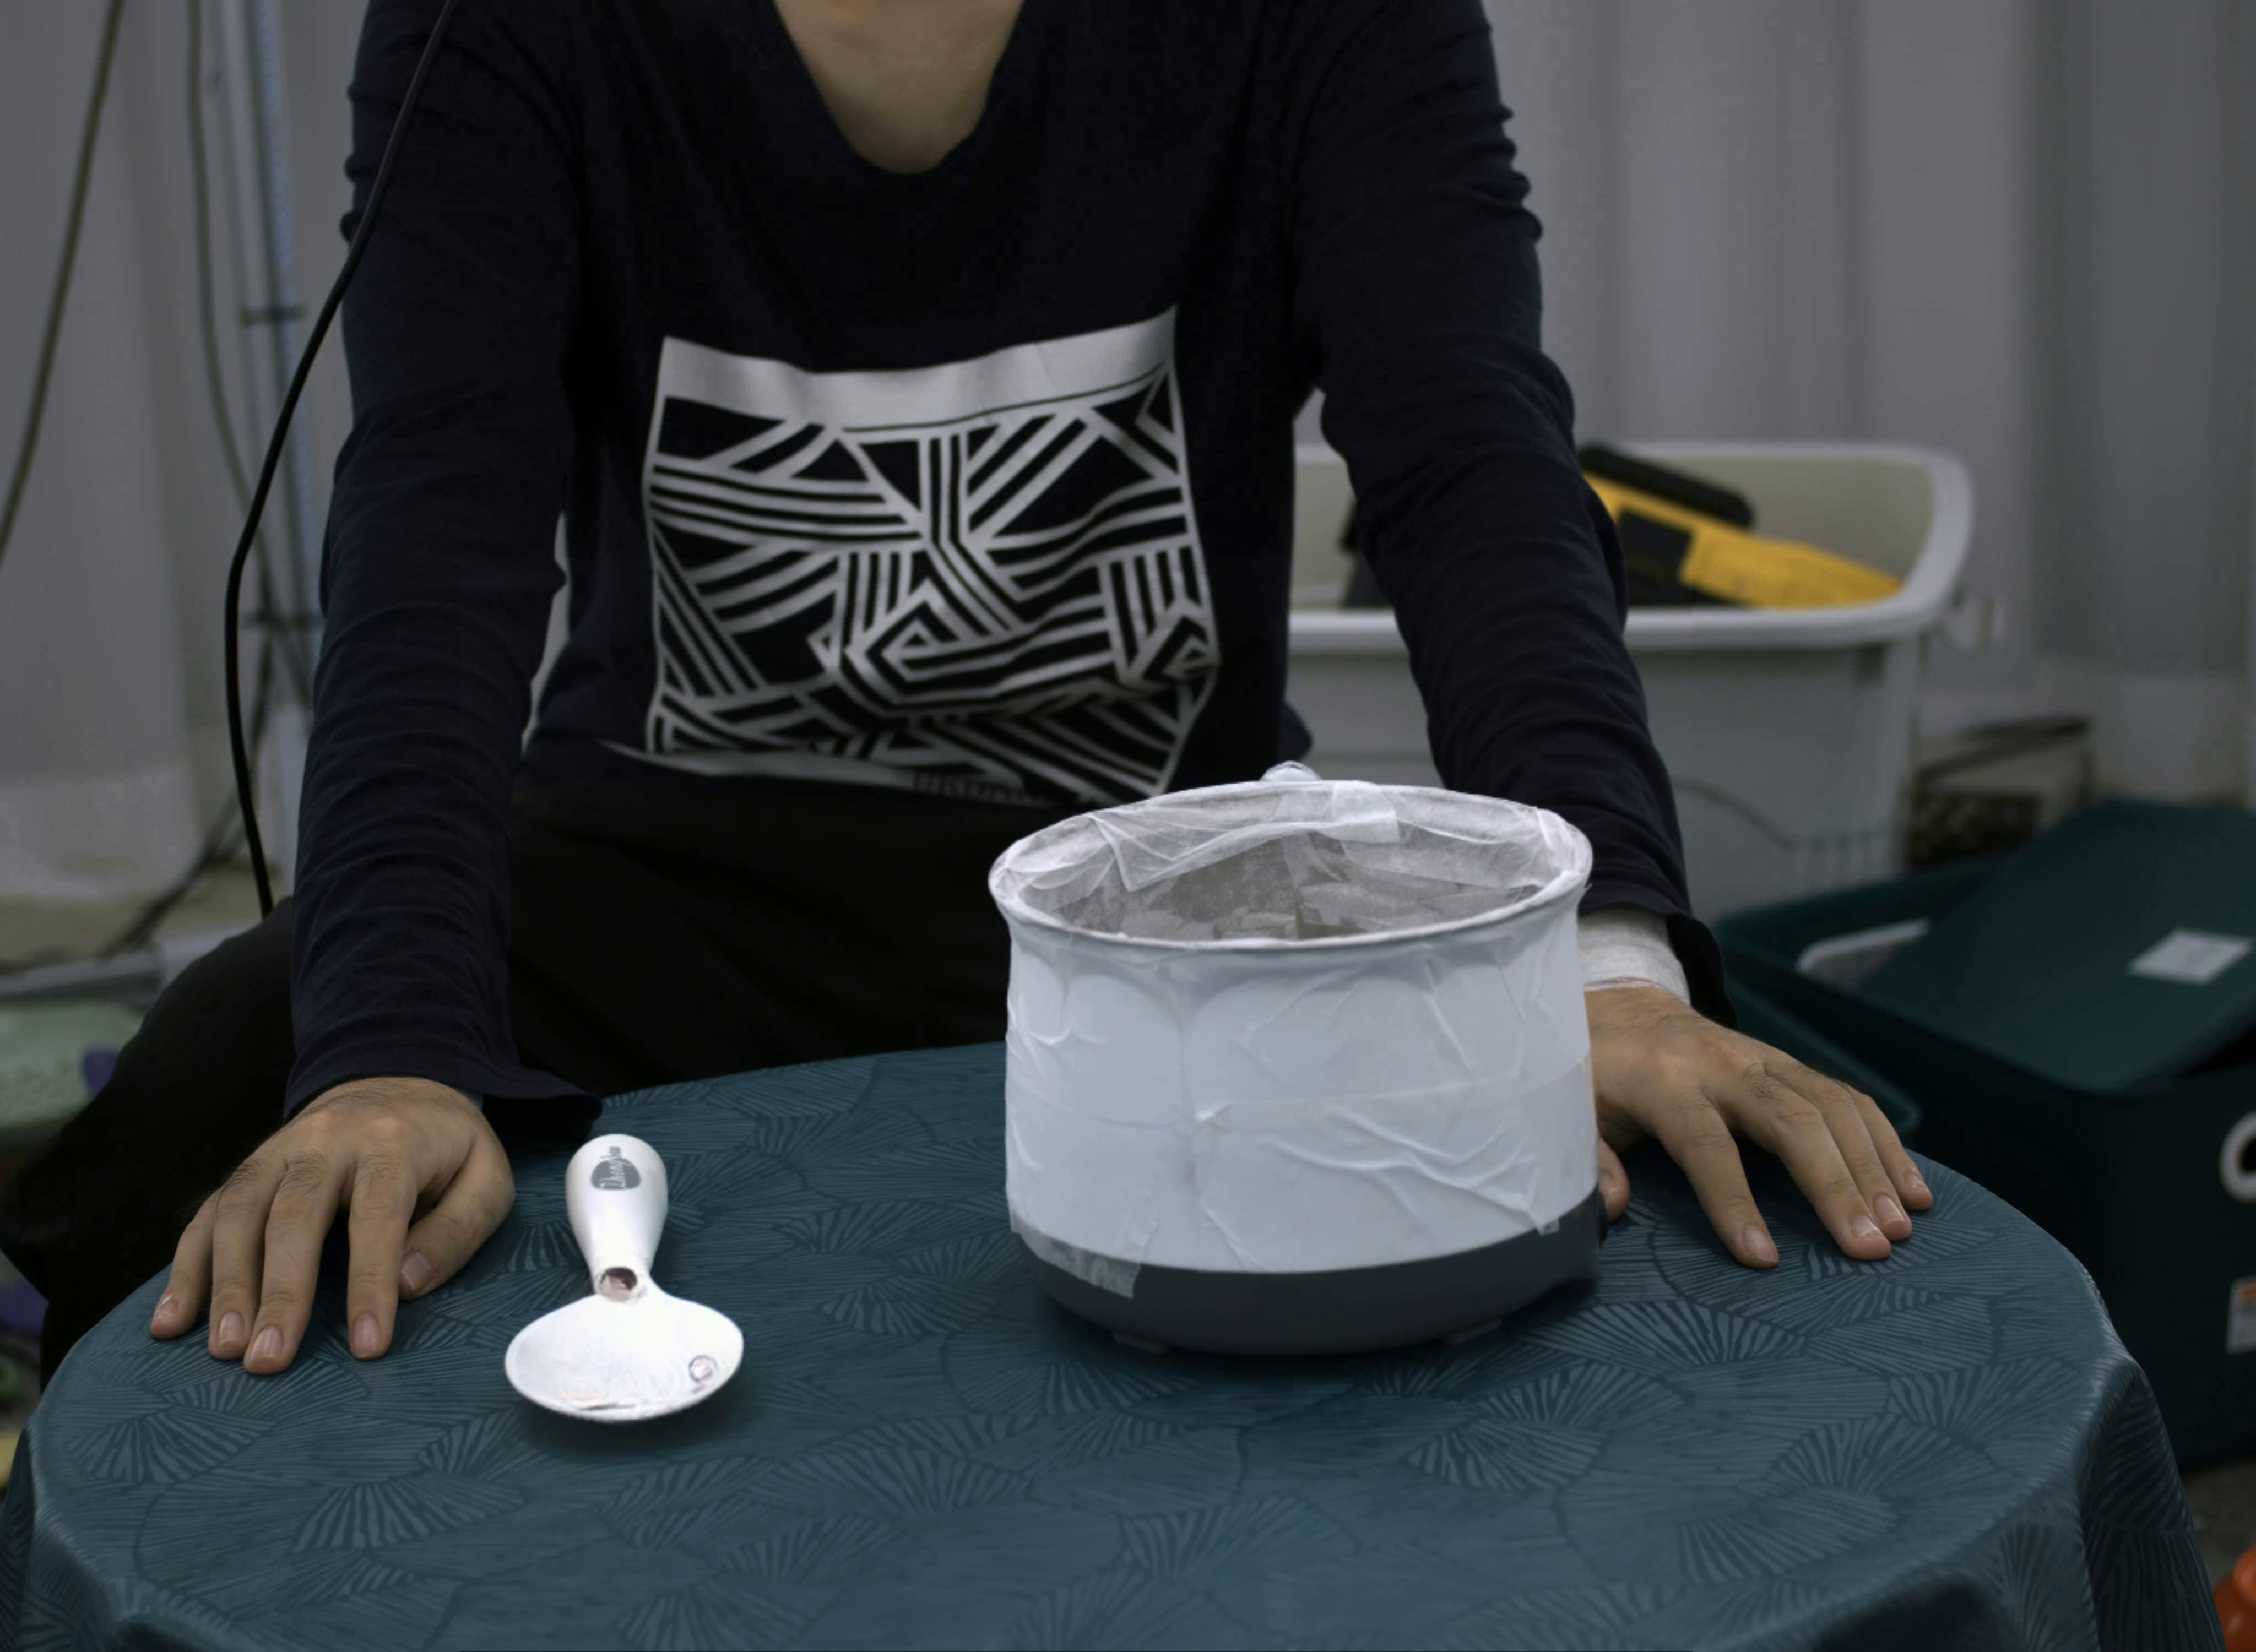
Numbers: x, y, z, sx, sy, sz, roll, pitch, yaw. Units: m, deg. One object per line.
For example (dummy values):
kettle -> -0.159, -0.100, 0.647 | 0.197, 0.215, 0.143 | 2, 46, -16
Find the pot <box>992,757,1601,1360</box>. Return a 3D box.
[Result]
pot -> 0.050, 0.064, 1.634 | 0.178, 0.136, 0.235 | -1, 15, 0

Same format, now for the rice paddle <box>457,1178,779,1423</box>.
rice paddle -> -0.155, 0.141, 1.597 | 0.068, 0.029, 0.206 | -4, 12, -20
